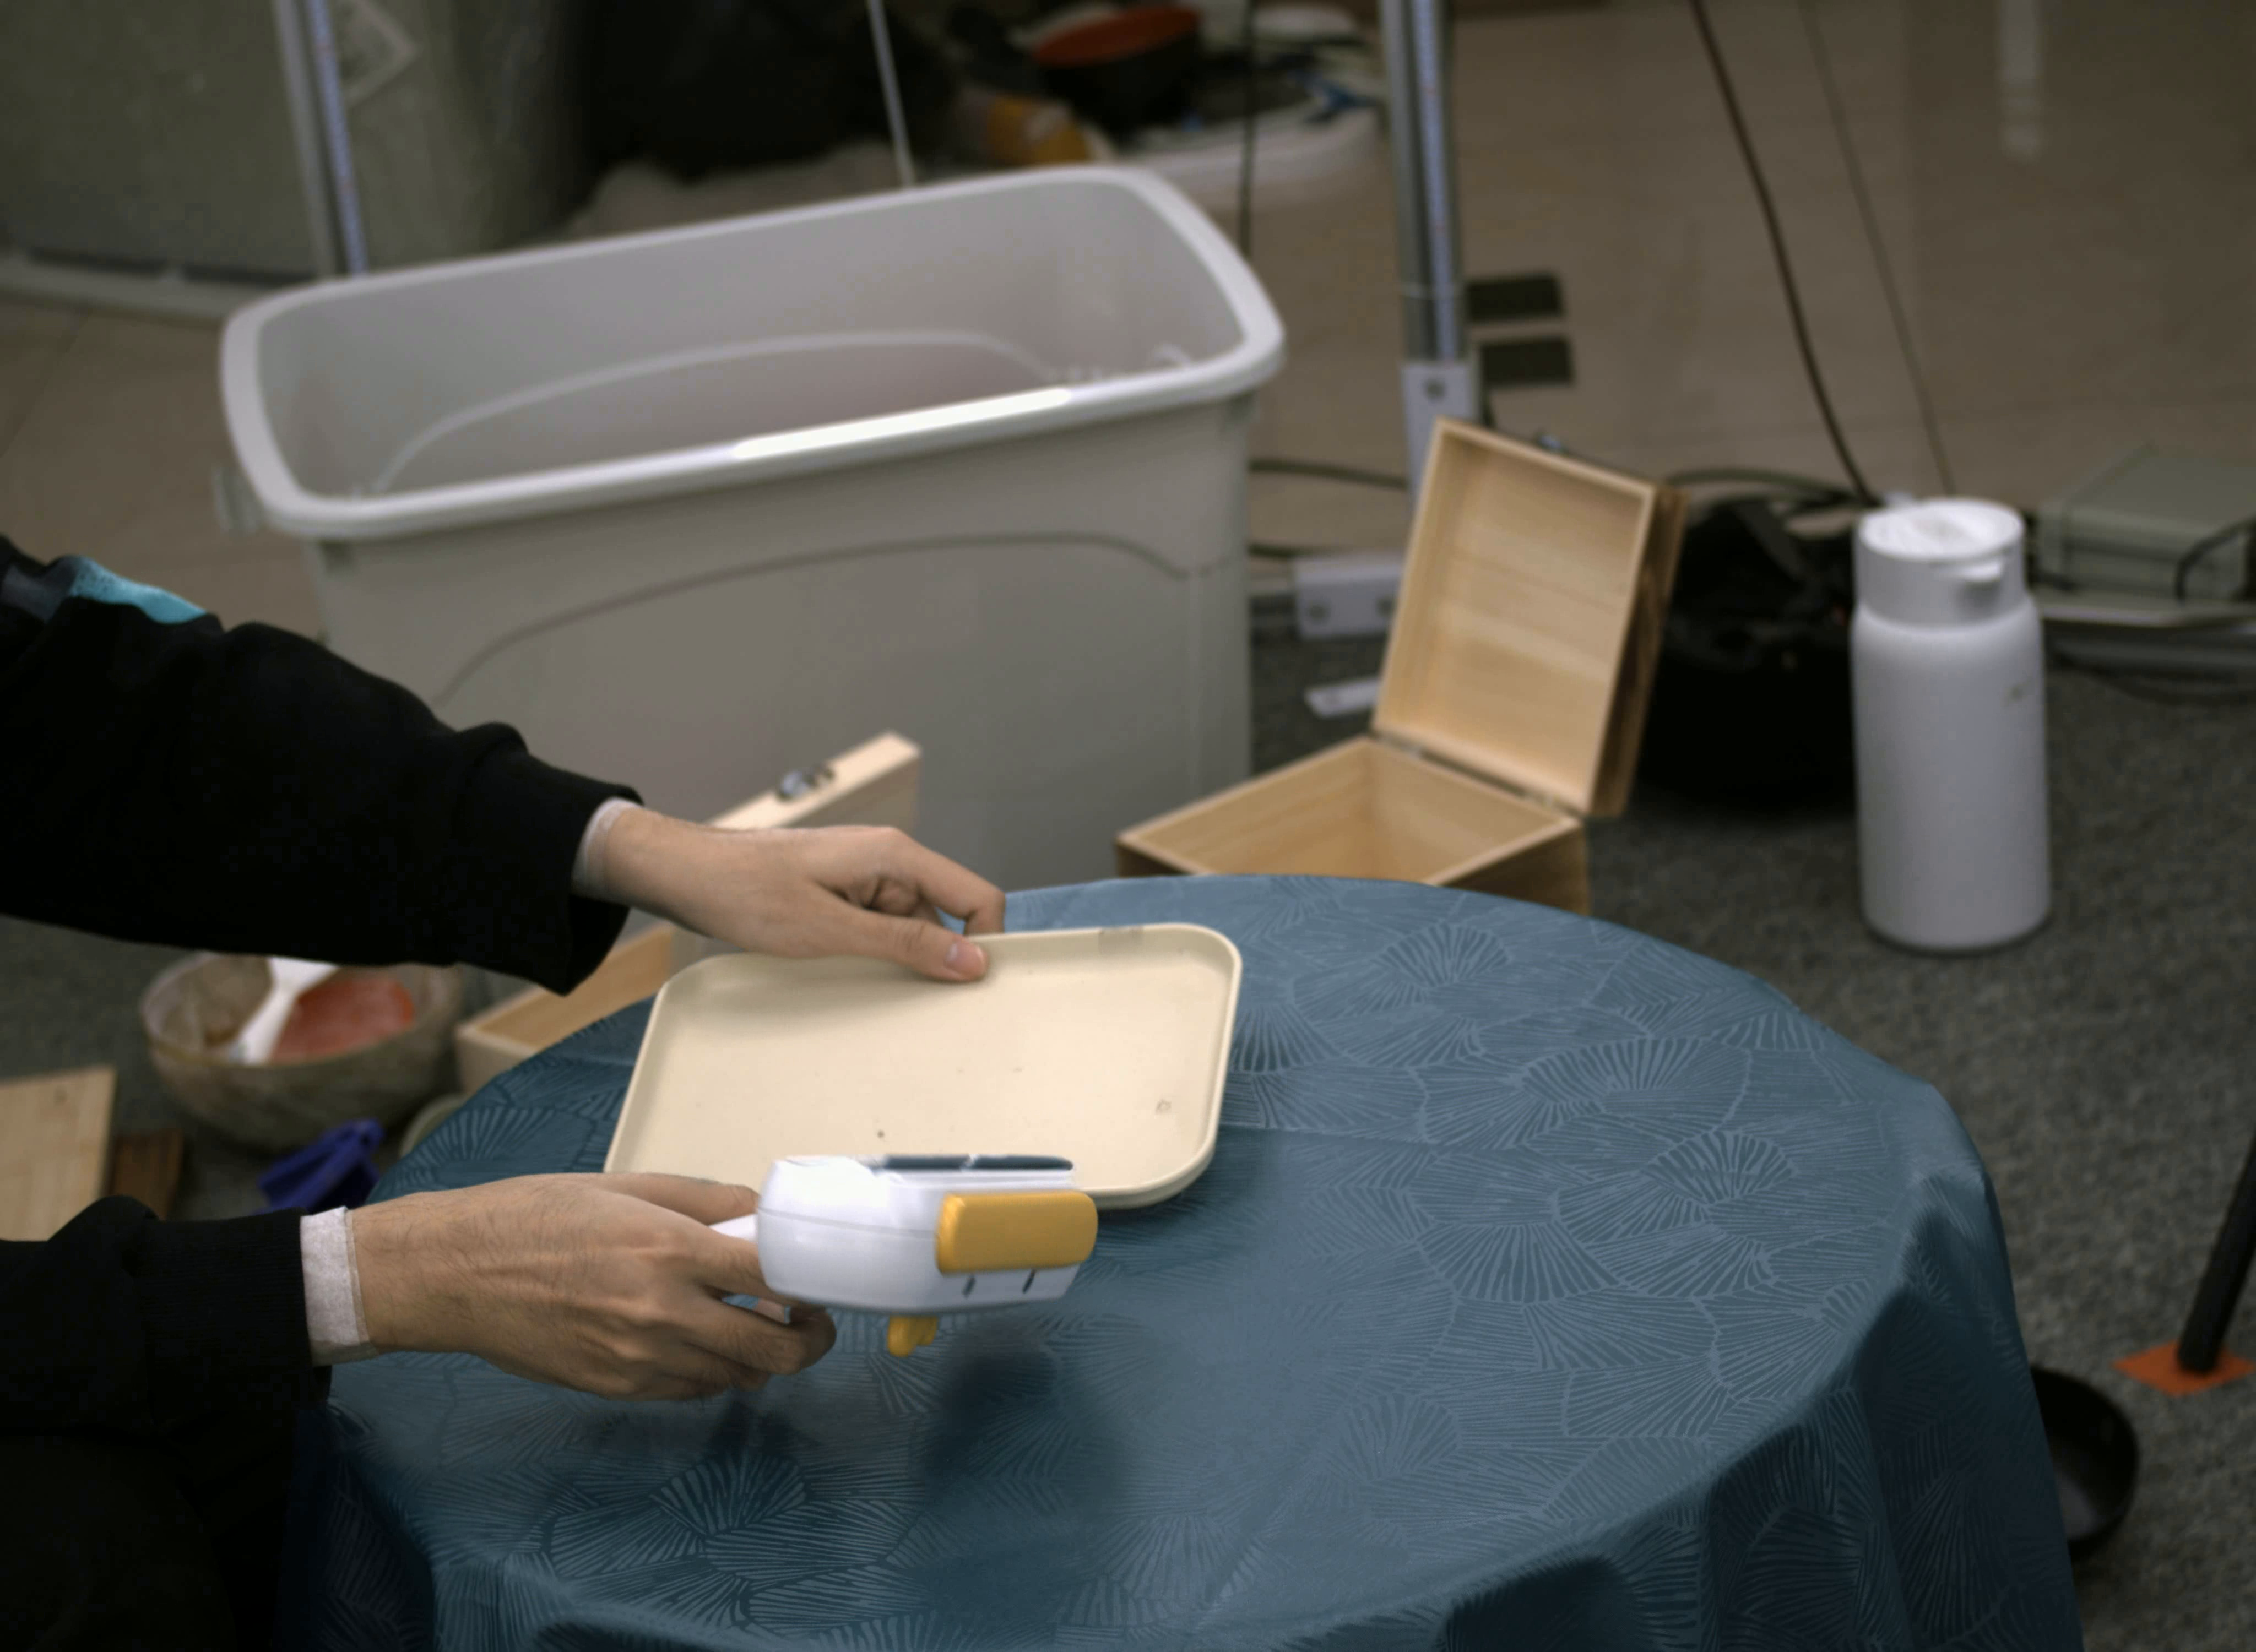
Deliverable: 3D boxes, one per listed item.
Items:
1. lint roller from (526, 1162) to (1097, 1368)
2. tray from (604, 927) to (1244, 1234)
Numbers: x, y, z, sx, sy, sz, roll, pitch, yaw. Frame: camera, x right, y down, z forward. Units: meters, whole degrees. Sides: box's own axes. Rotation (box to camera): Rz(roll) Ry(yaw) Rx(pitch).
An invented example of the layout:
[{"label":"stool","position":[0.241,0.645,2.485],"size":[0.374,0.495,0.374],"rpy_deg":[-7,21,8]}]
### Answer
[{"label":"lint roller","position":[-0.125,0.152,1.997],"size":[0.192,0.074,0.192],"rpy_deg":[-1,2,22]},{"label":"tray","position":[-0.077,0.100,2.195],"size":[0.239,0.018,0.168],"rpy_deg":[-3,35,10]}]
